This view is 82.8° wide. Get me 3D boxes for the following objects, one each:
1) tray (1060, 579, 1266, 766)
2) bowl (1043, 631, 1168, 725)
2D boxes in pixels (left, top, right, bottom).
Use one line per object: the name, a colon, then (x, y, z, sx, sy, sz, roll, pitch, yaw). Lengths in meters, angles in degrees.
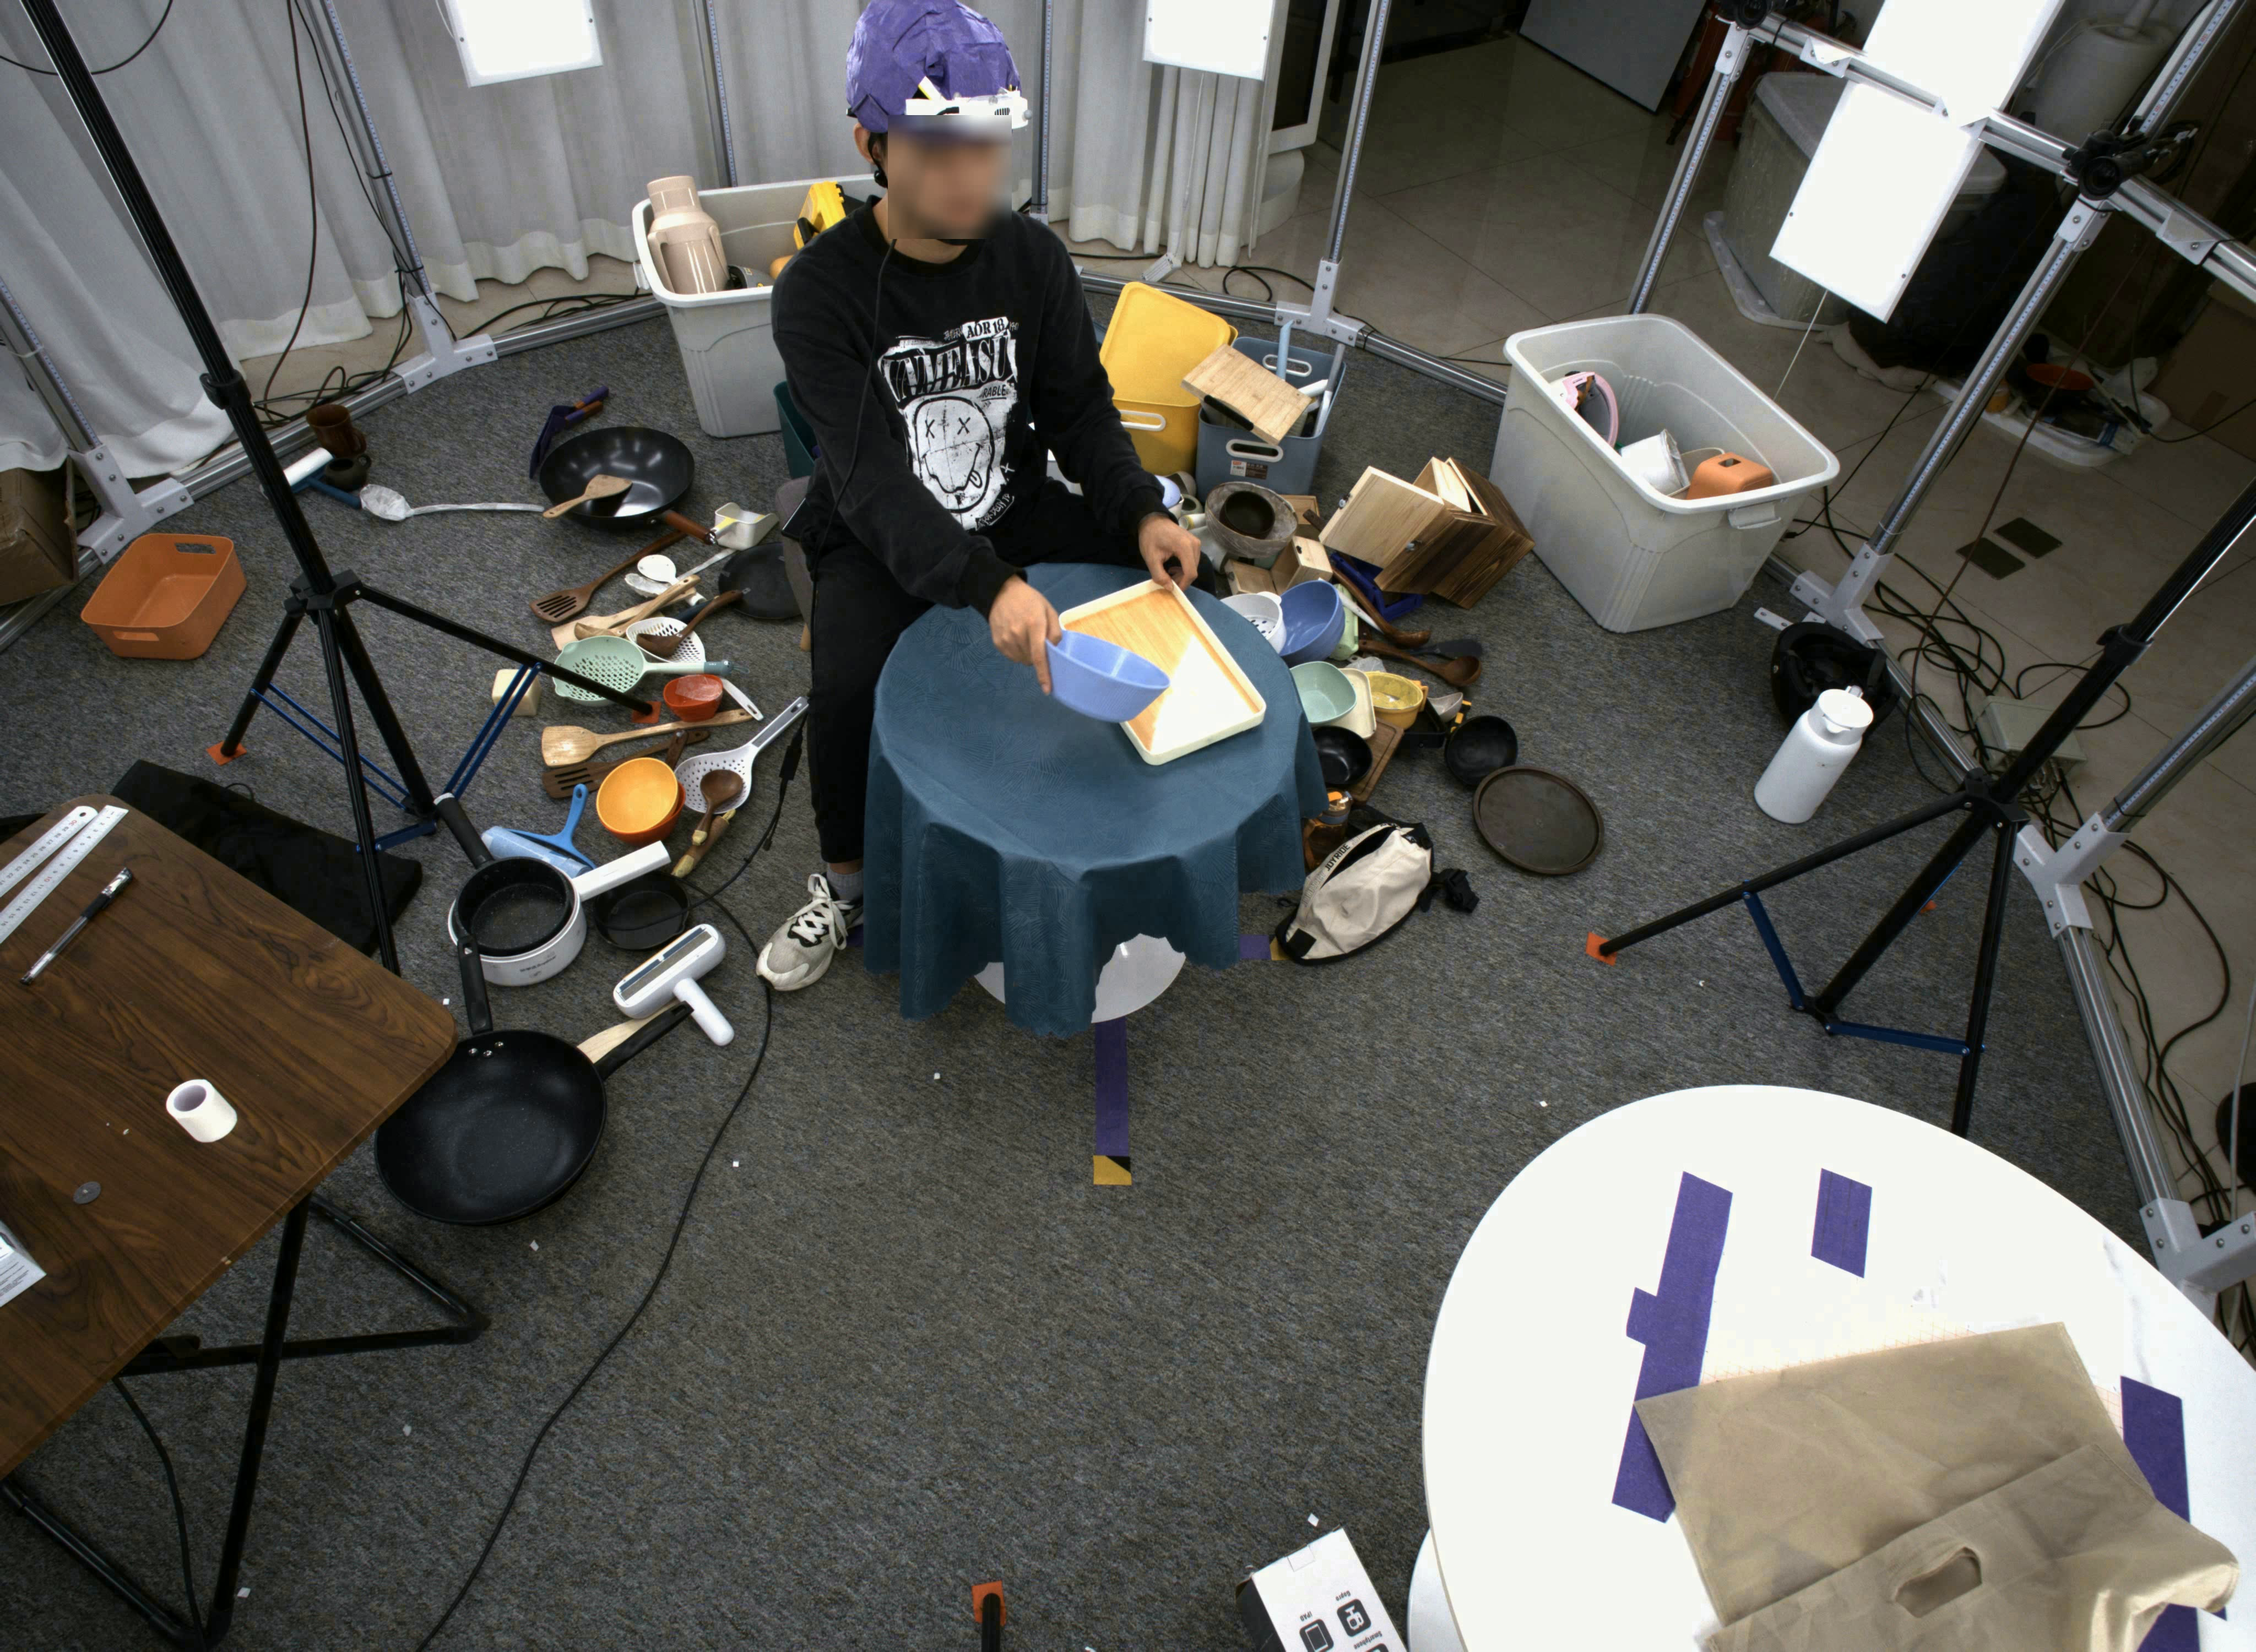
tray: (0.047, -0.227, 1.850, 0.192, 0.027, 0.307, -22, 56, -15)
bowl: (-0.040, -0.187, 1.669, 0.175, 0.069, 0.179, 21, 19, -8)
